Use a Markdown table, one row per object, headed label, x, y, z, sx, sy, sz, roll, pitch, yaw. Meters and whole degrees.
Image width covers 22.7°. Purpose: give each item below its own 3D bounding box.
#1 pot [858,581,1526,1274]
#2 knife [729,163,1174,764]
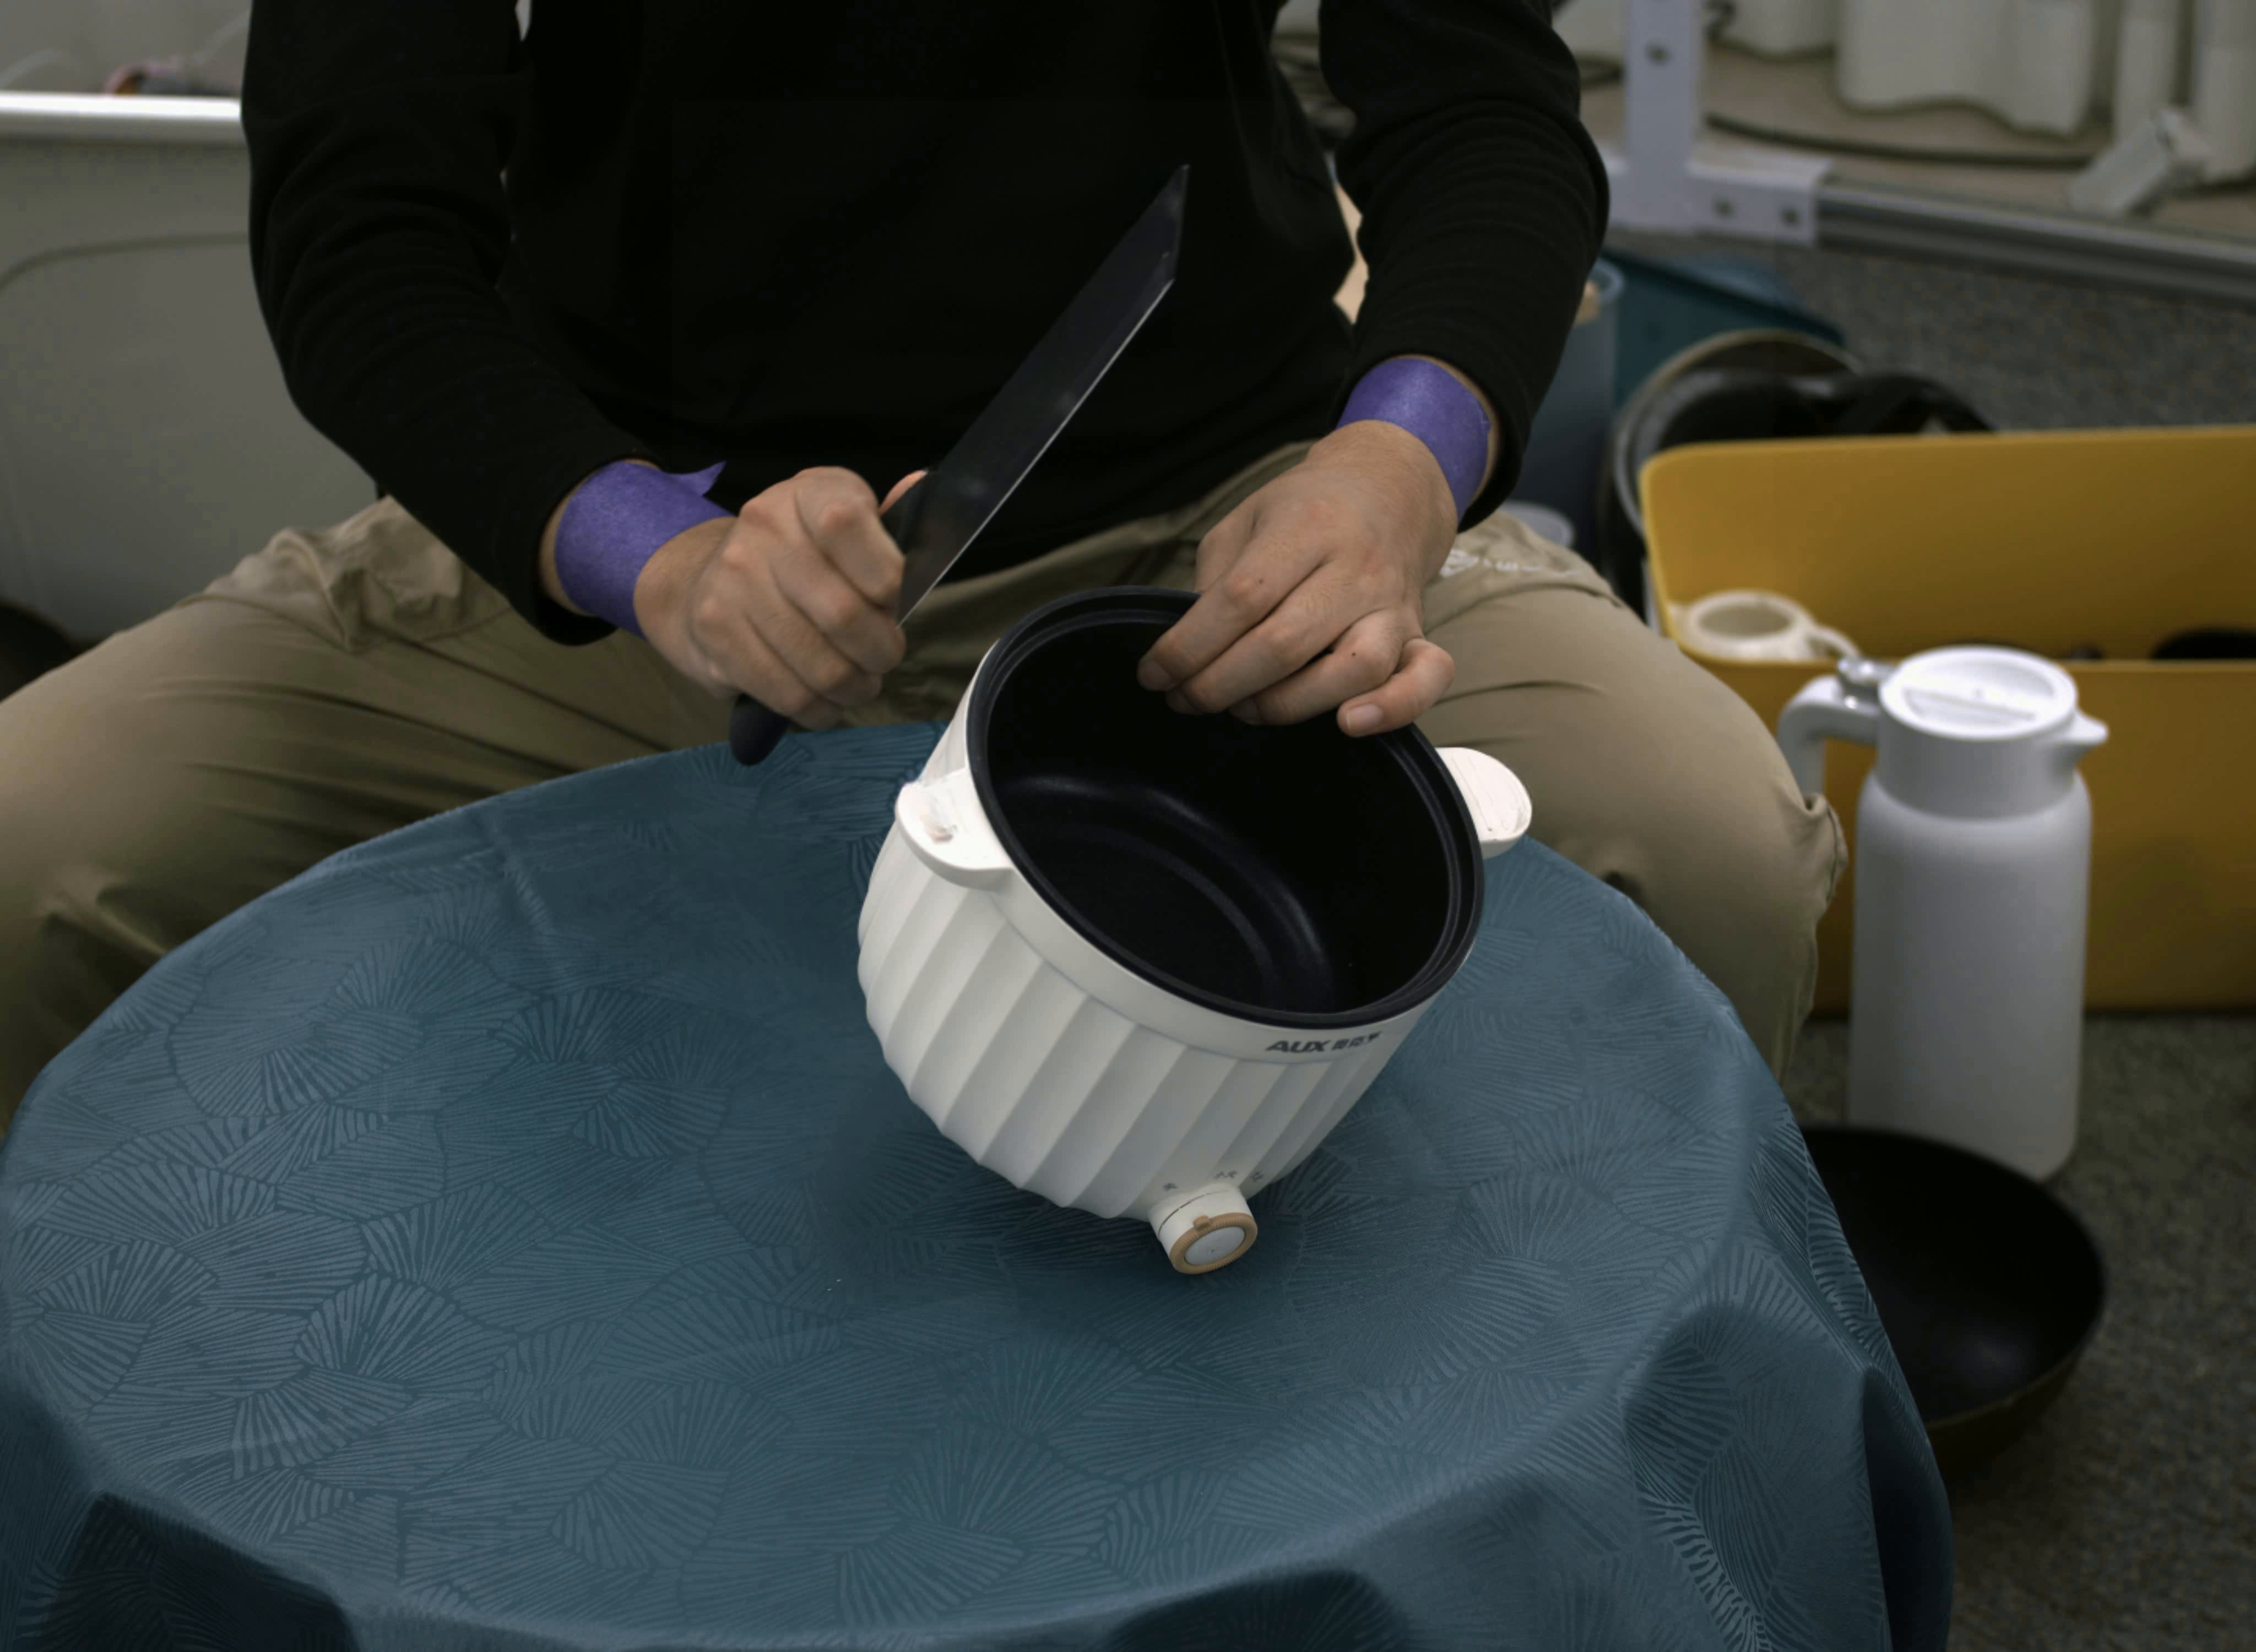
| label | x | y | z | sx | sy | sz | roll | pitch | yaw |
| --- | --- | --- | --- | --- | --- | --- | --- | --- | --- |
| pot | 0.009 | 0.036 | 1.829 | 0.241 | 0.140 | 0.193 | -3 | 49 | -33 |
| knife | -0.061 | -0.110 | 1.888 | 0.021 | 0.297 | 0.082 | 26 | 46 | -17 |
